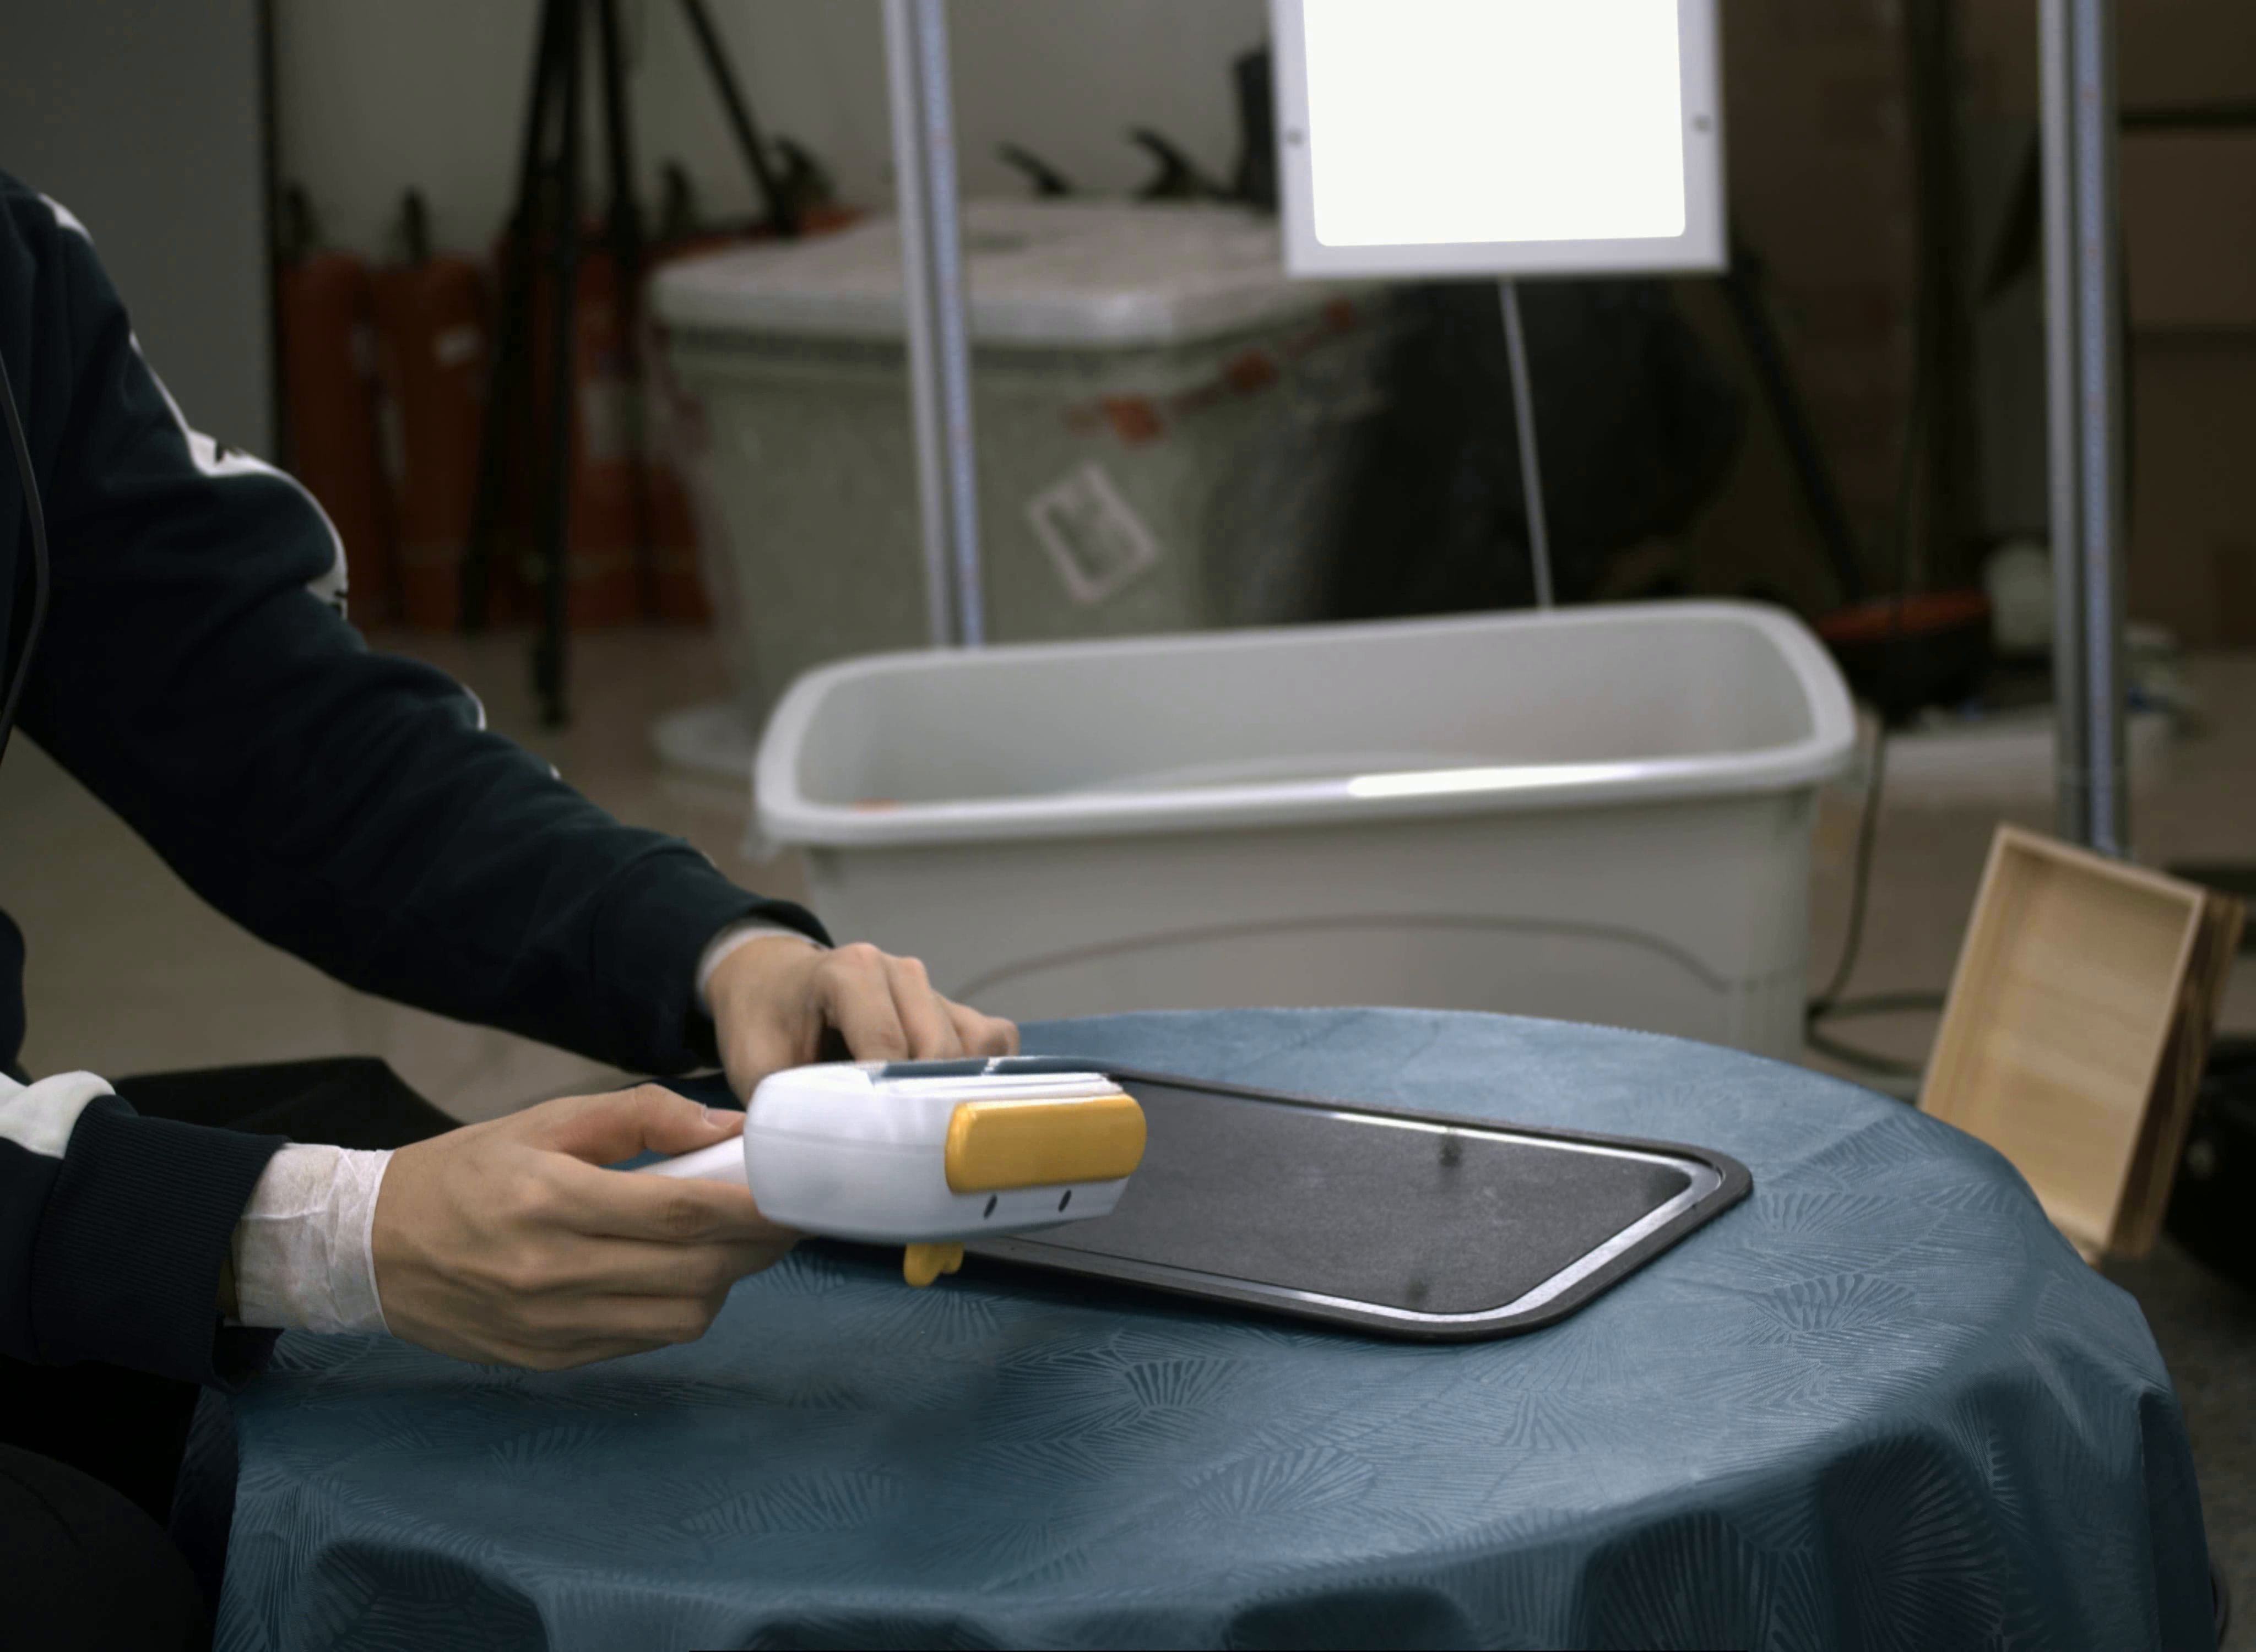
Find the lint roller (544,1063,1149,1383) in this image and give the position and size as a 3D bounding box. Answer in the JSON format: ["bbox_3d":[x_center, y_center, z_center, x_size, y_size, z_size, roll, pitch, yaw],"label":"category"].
[{"bbox_3d":[-0.106,0.125,1.723,0.196,0.074,0.188,-18,-8,29],"label":"lint roller"}]

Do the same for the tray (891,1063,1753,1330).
[{"bbox_3d":[0.035,0.121,1.867,0.332,0.010,0.206,7,17,33],"label":"tray"}]
